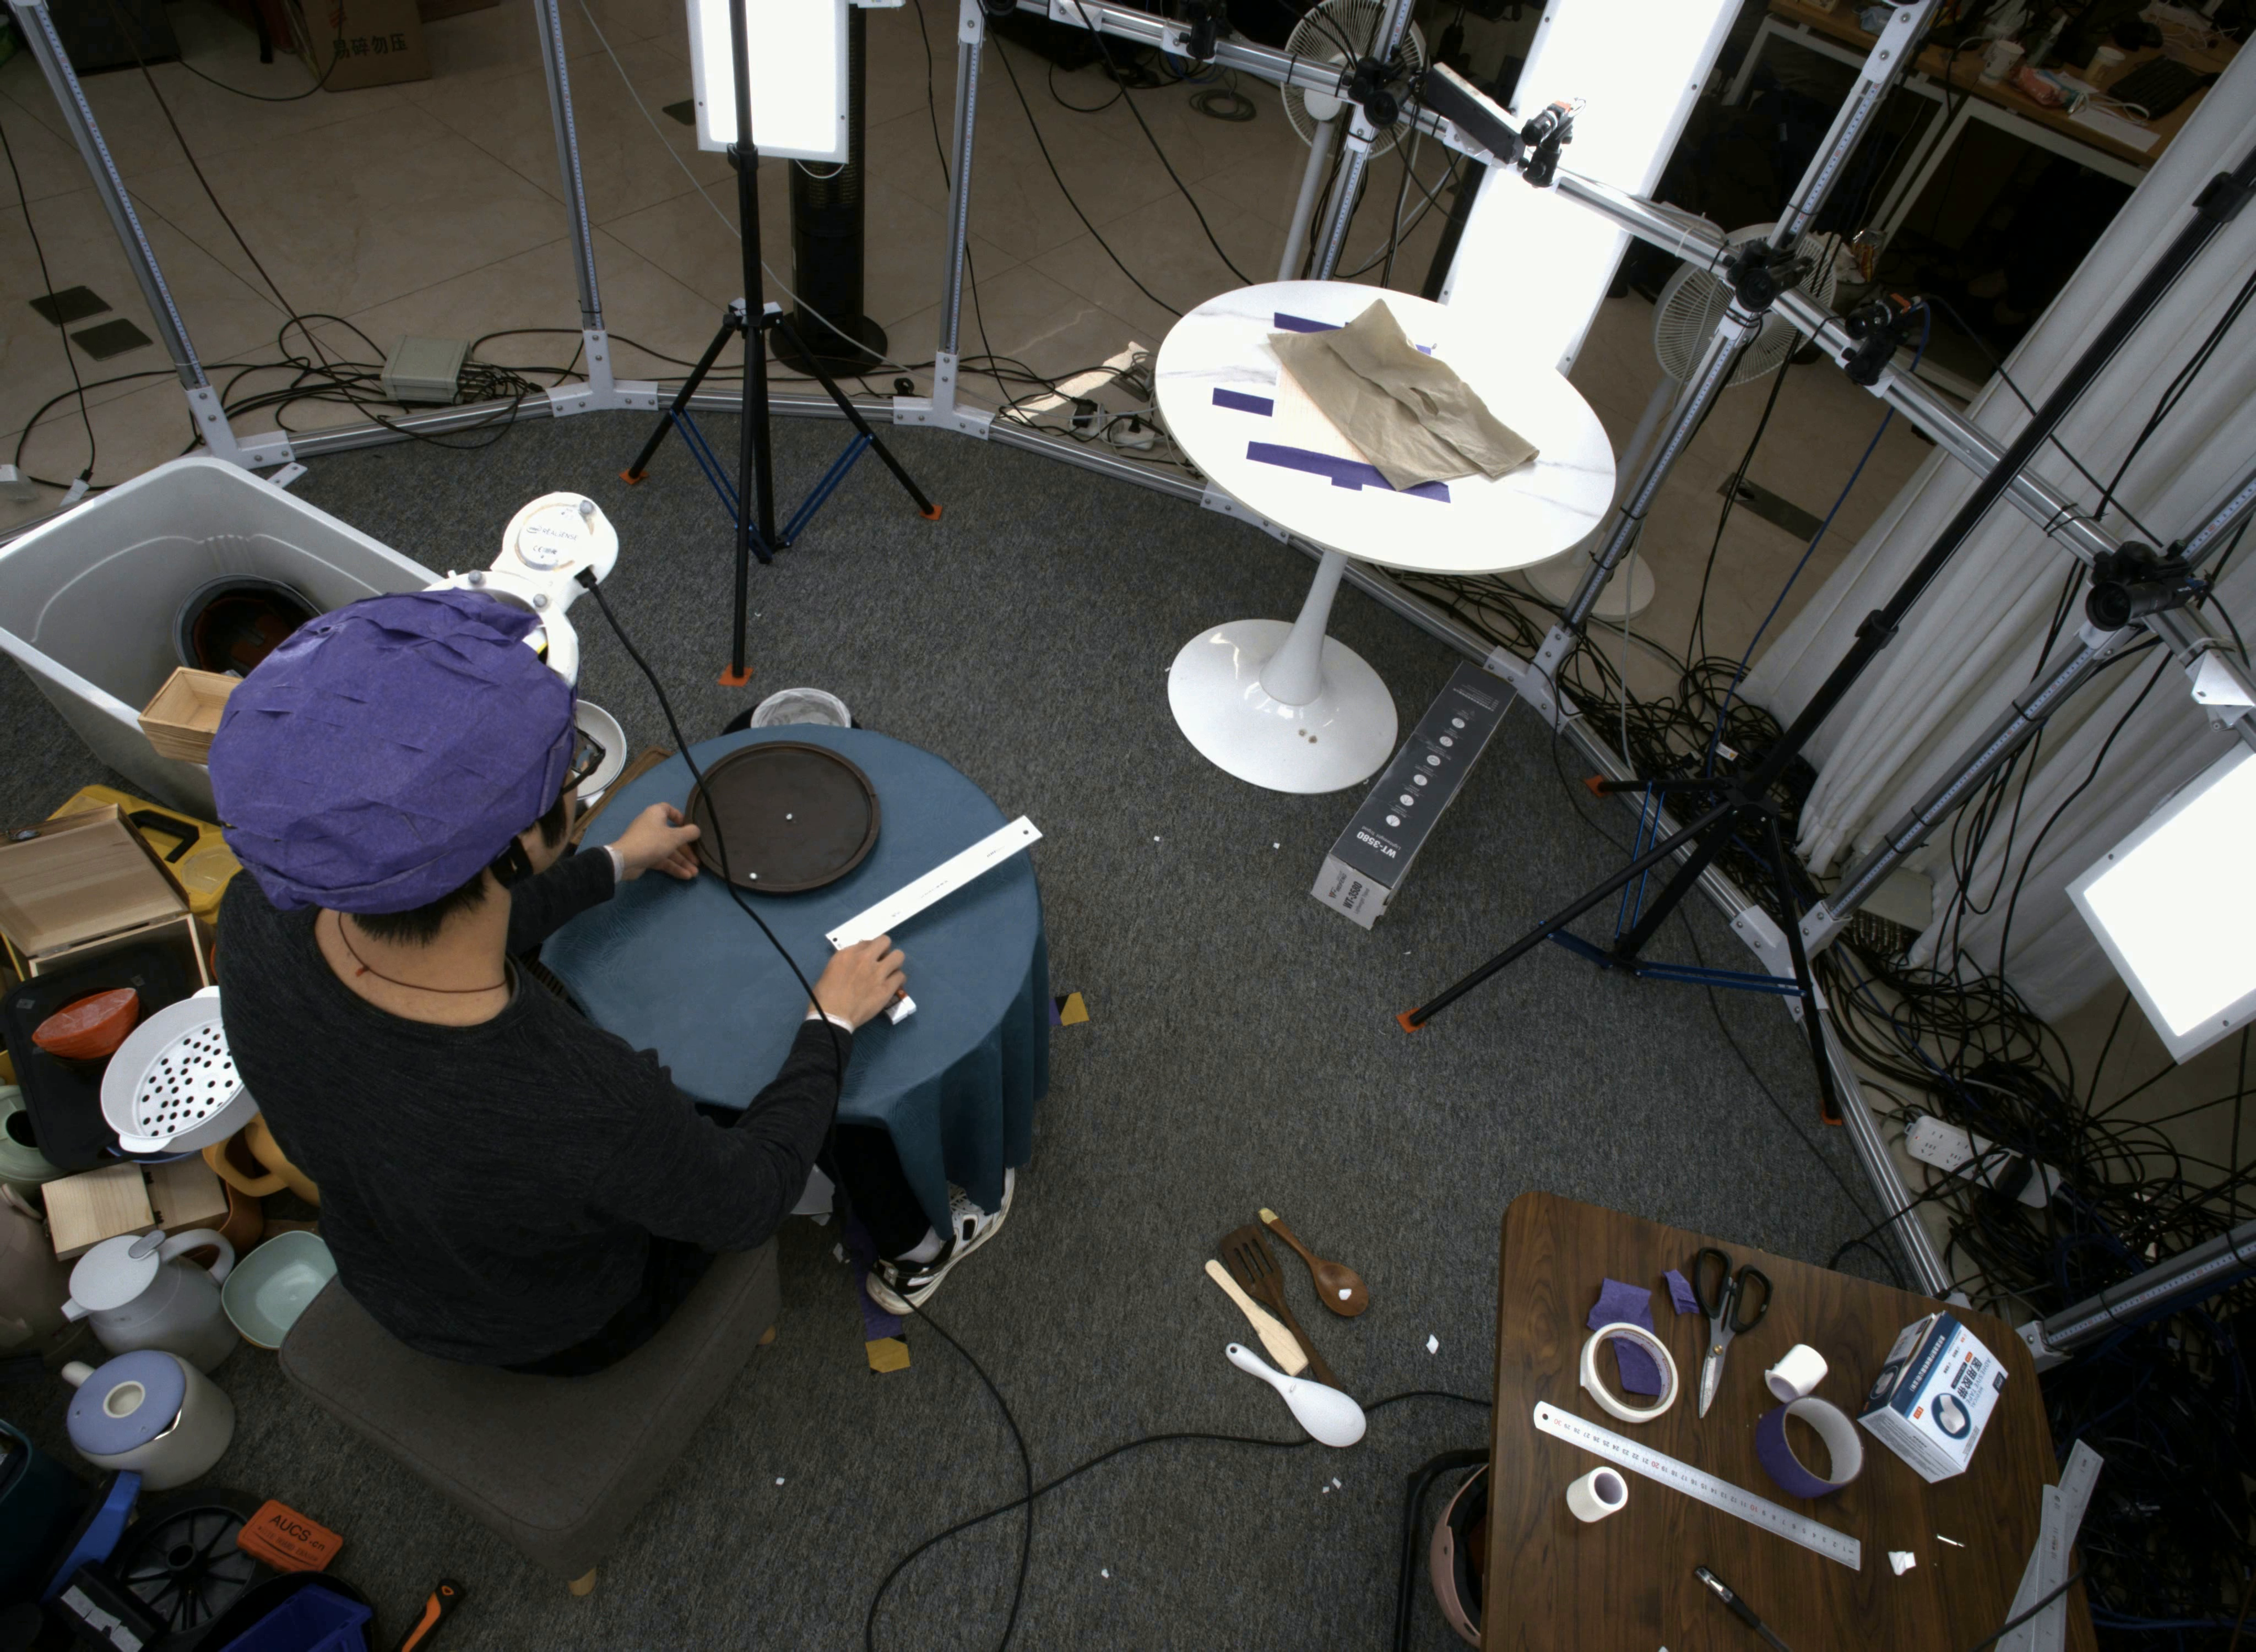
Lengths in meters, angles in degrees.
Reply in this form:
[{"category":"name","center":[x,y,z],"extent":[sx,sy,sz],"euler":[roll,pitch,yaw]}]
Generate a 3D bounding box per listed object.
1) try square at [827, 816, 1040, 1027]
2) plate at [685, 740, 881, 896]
[{"category":"try square","center":[-0.212,0.112,1.654],"extent":[0.313,0.016,0.149],"euler":[-33,68,-26]},{"category":"plate","center":[-0.453,-0.014,1.706],"extent":[0.254,0.029,0.250],"euler":[9,51,-9]}]
